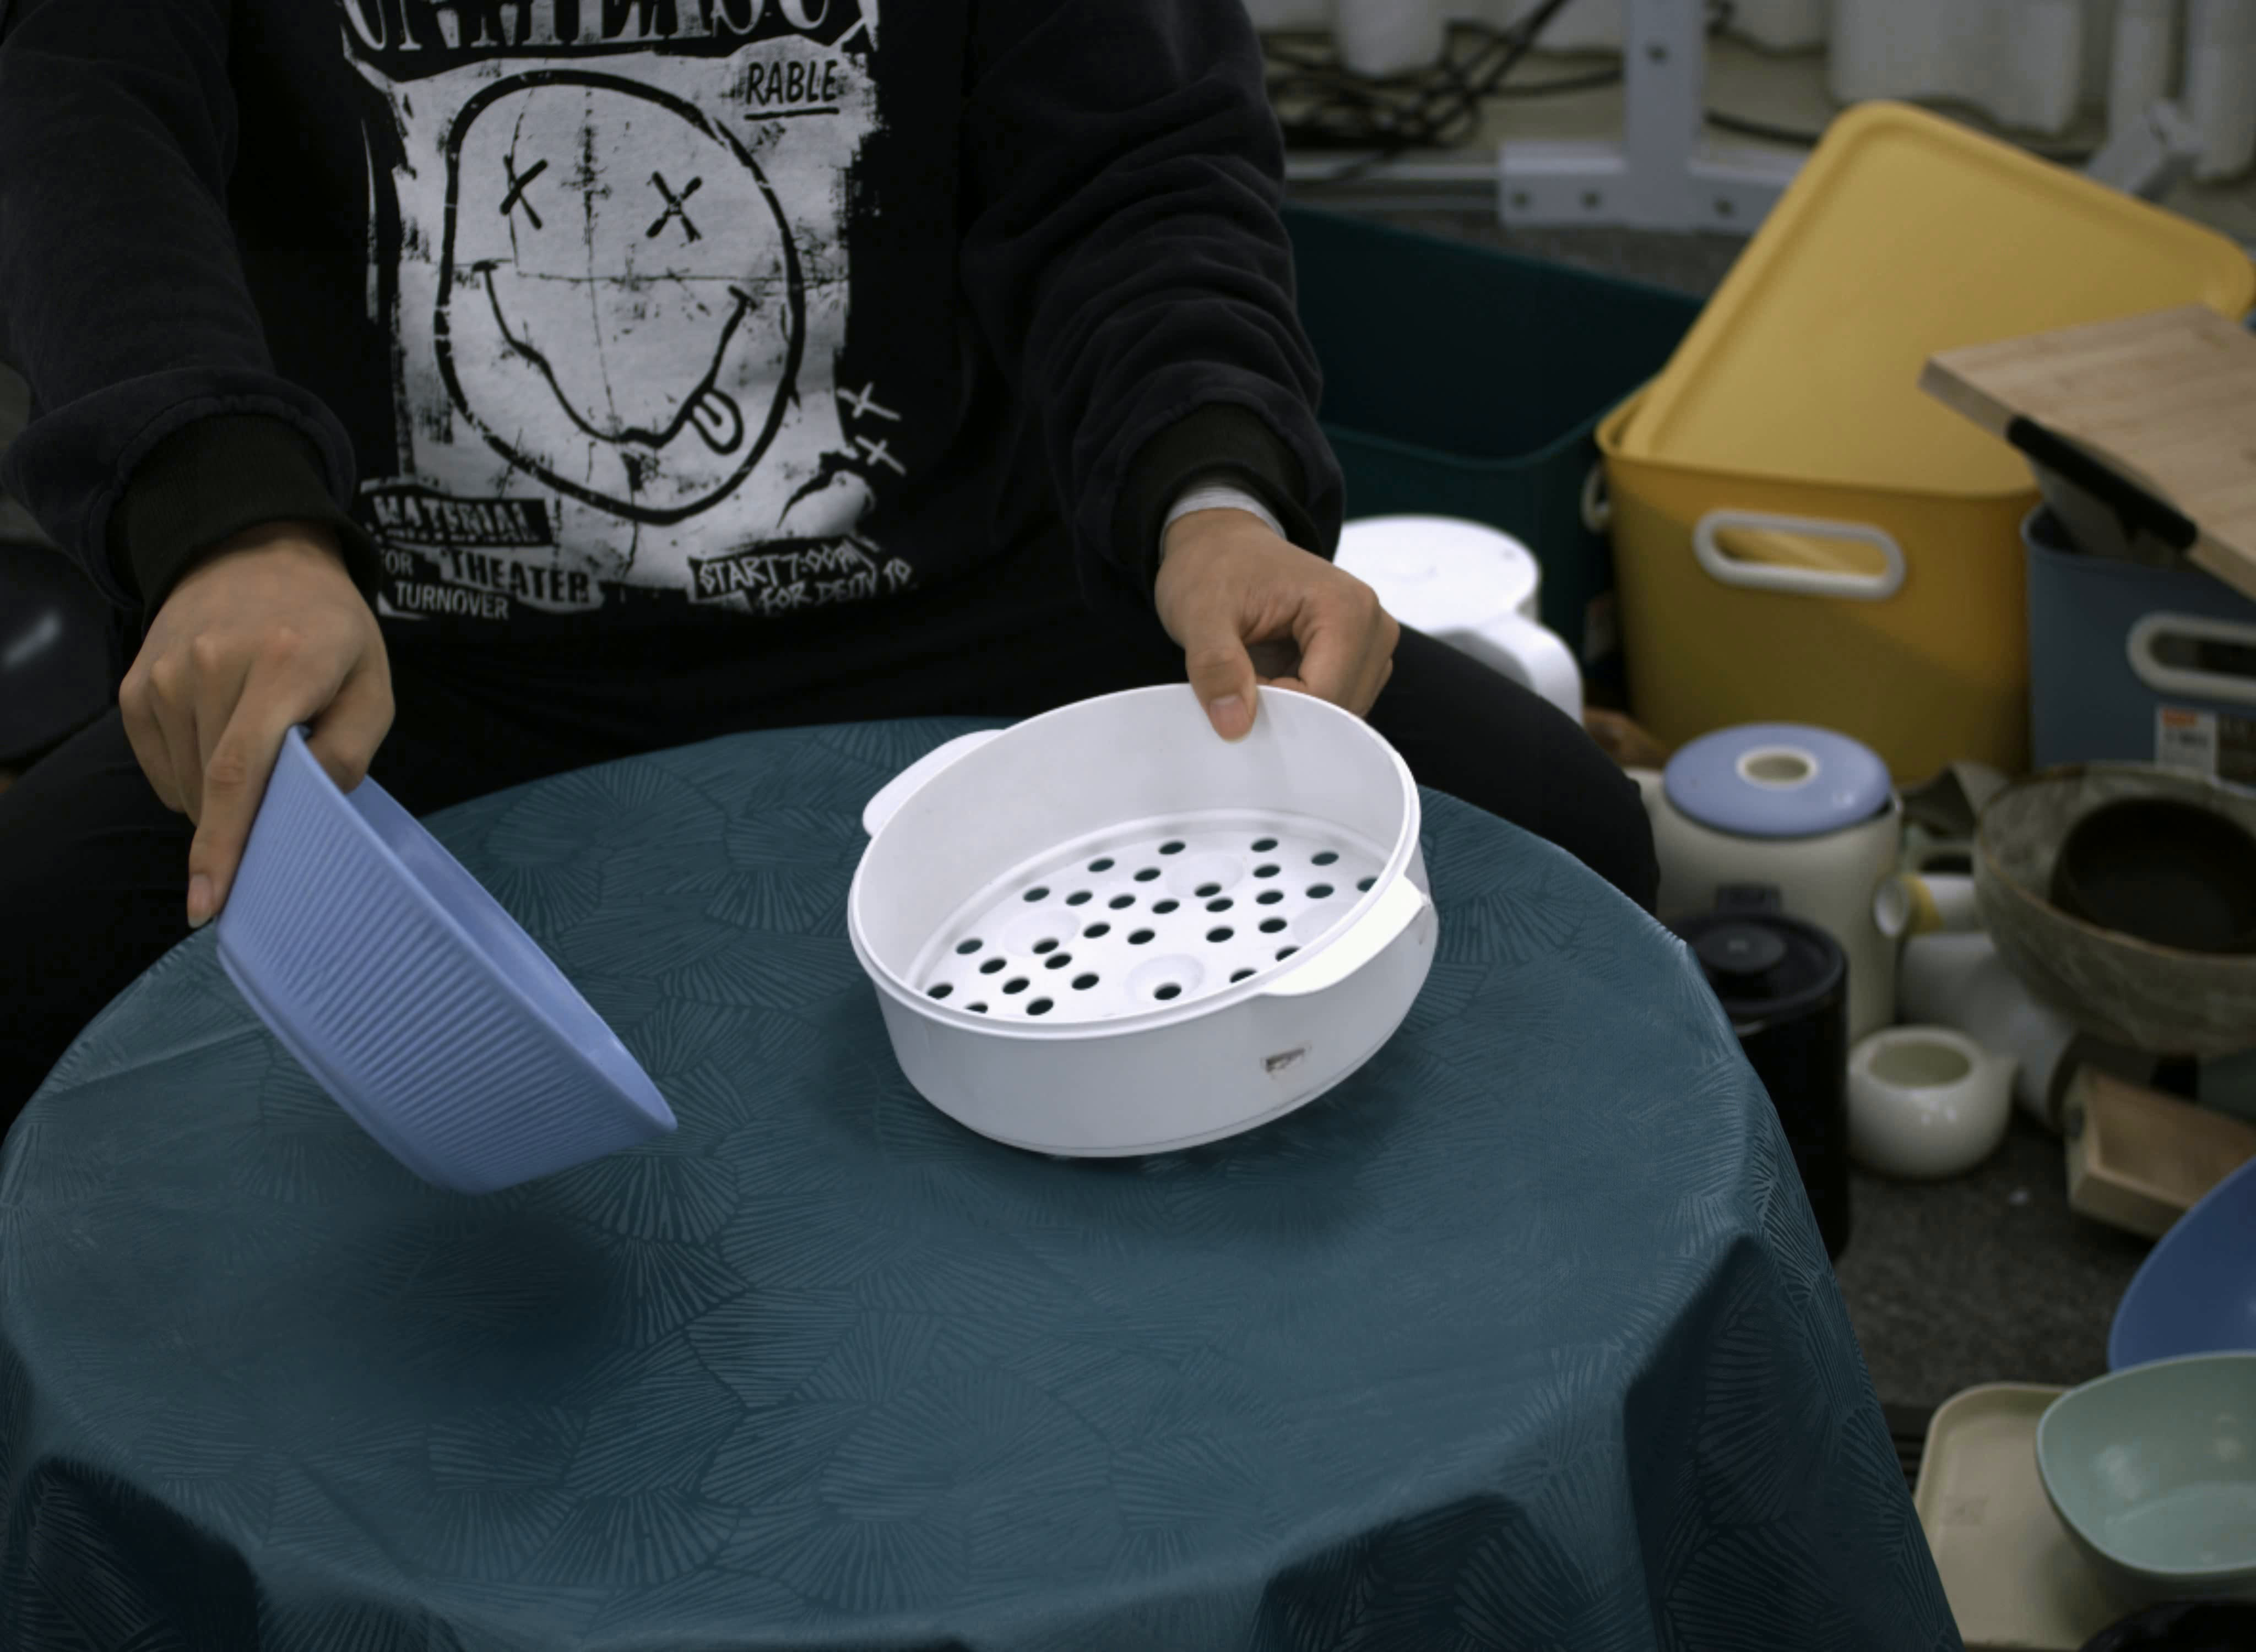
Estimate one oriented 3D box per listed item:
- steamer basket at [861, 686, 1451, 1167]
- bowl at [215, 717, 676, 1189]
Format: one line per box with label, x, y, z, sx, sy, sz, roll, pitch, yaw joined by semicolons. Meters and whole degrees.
steamer basket;0.012;0.035;1.927;0.230;0.068;0.205;21;46;39
bowl;-0.226;0.051;1.773;0.070;0.174;0.177;-43;35;-2
